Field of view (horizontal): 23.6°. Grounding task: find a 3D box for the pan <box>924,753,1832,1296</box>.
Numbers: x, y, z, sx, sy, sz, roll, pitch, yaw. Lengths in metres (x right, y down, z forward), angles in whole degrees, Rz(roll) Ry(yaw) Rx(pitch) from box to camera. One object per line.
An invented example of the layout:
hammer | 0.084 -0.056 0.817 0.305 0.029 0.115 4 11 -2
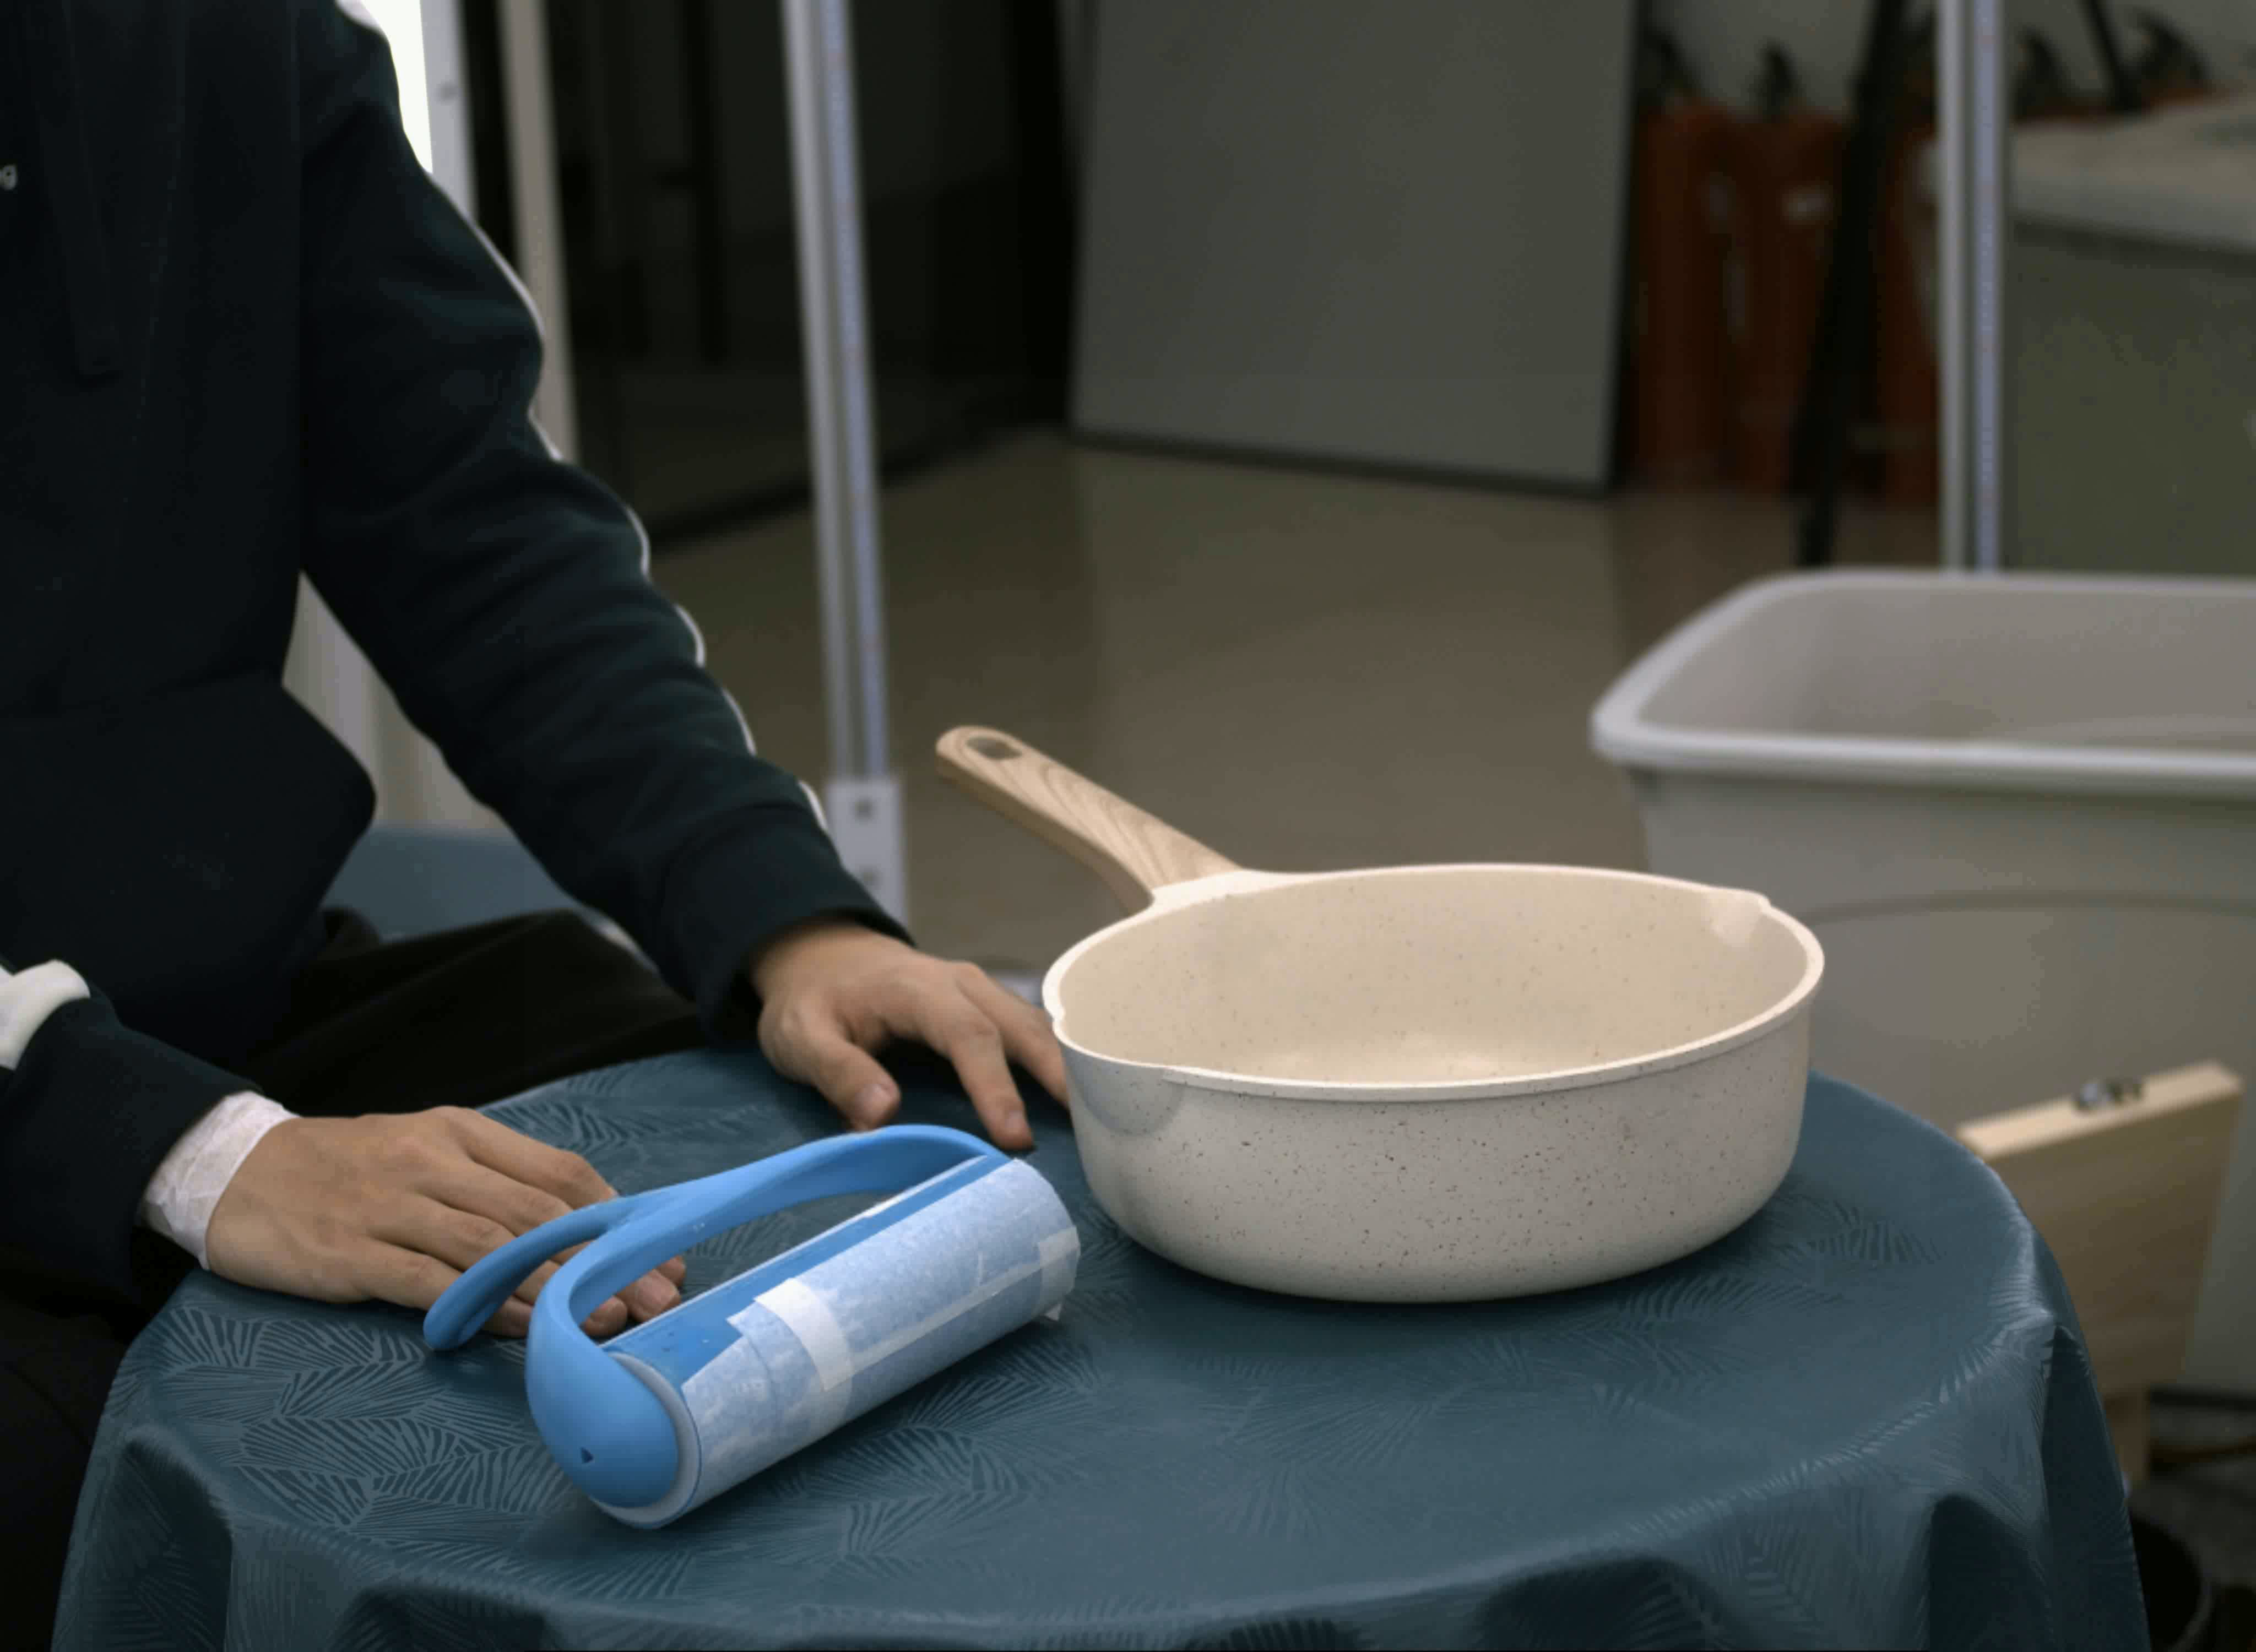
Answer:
pan | 0.054 0.058 1.800 0.258 0.103 0.439 -13 16 -29

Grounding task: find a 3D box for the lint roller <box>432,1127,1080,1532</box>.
lint roller | -0.137 0.142 1.607 0.181 0.068 0.225 6 18 30
